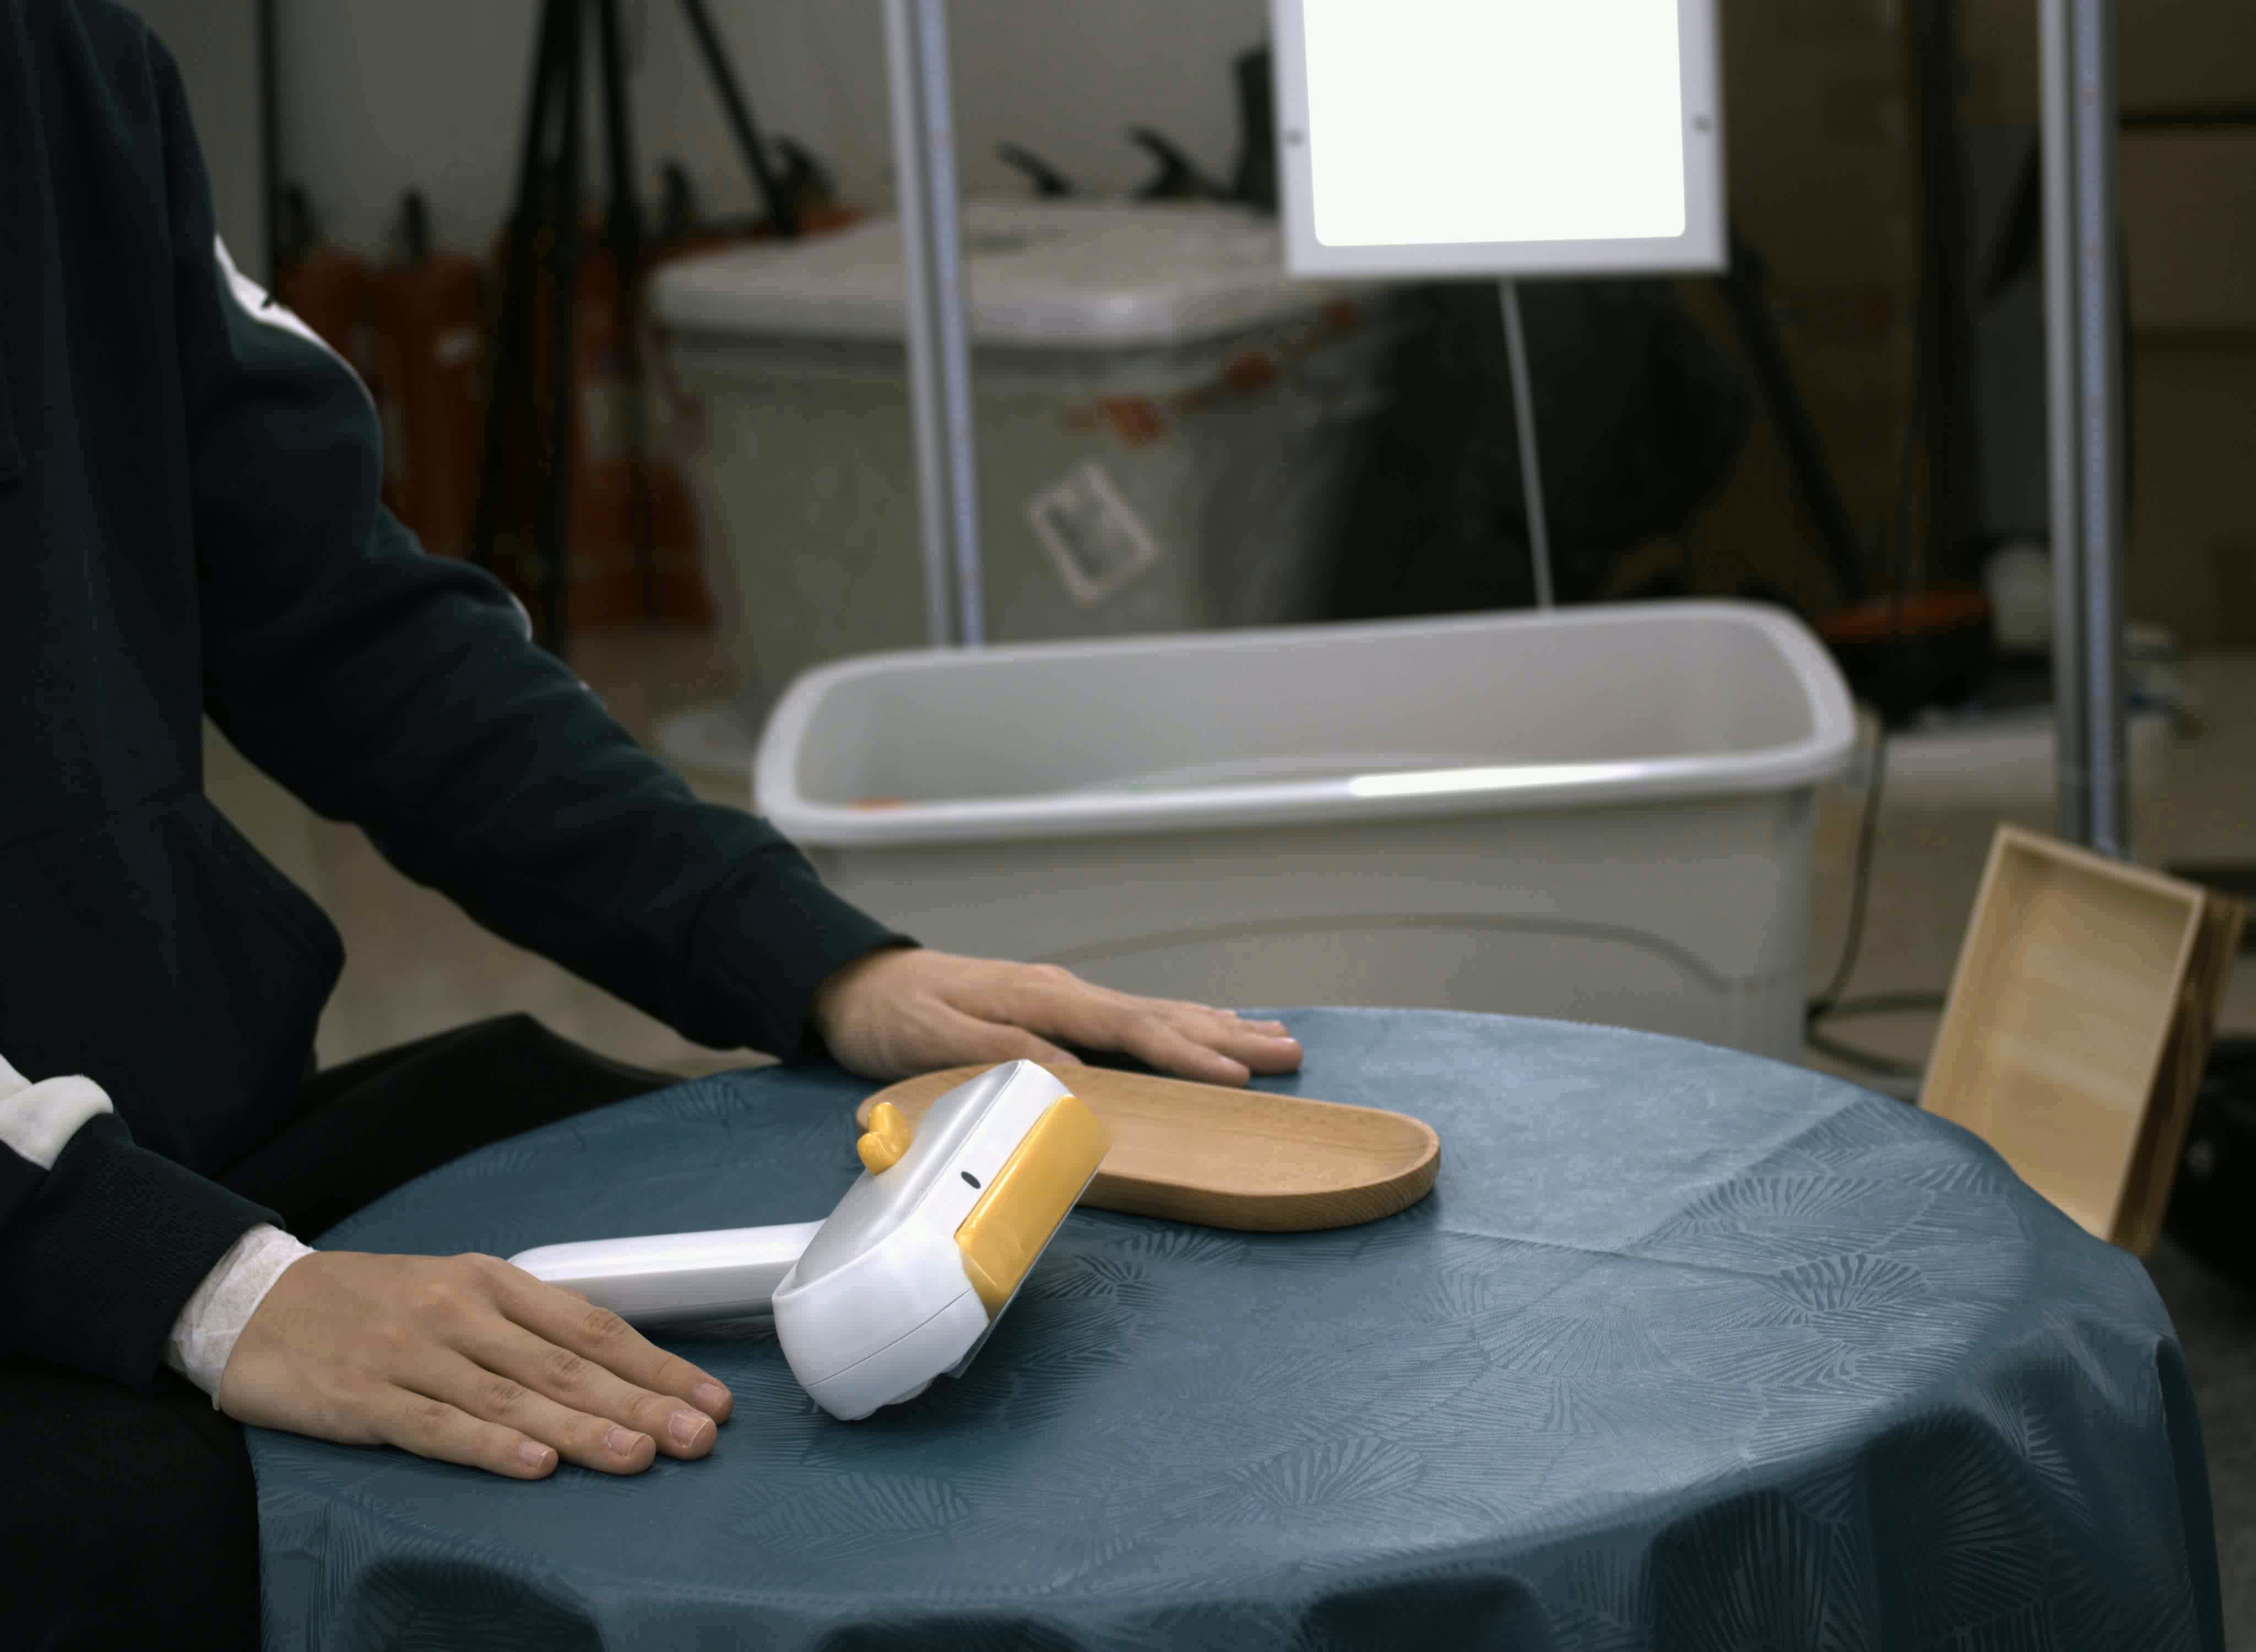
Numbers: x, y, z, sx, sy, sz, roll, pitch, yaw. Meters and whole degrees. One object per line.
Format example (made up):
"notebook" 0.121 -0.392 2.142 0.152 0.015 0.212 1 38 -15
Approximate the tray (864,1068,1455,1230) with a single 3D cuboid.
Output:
"tray" 0.009 0.112 1.918 0.236 0.020 0.099 7 19 37

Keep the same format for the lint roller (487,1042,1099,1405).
"lint roller" -0.113 0.140 1.780 0.195 0.074 0.191 -21 16 17
